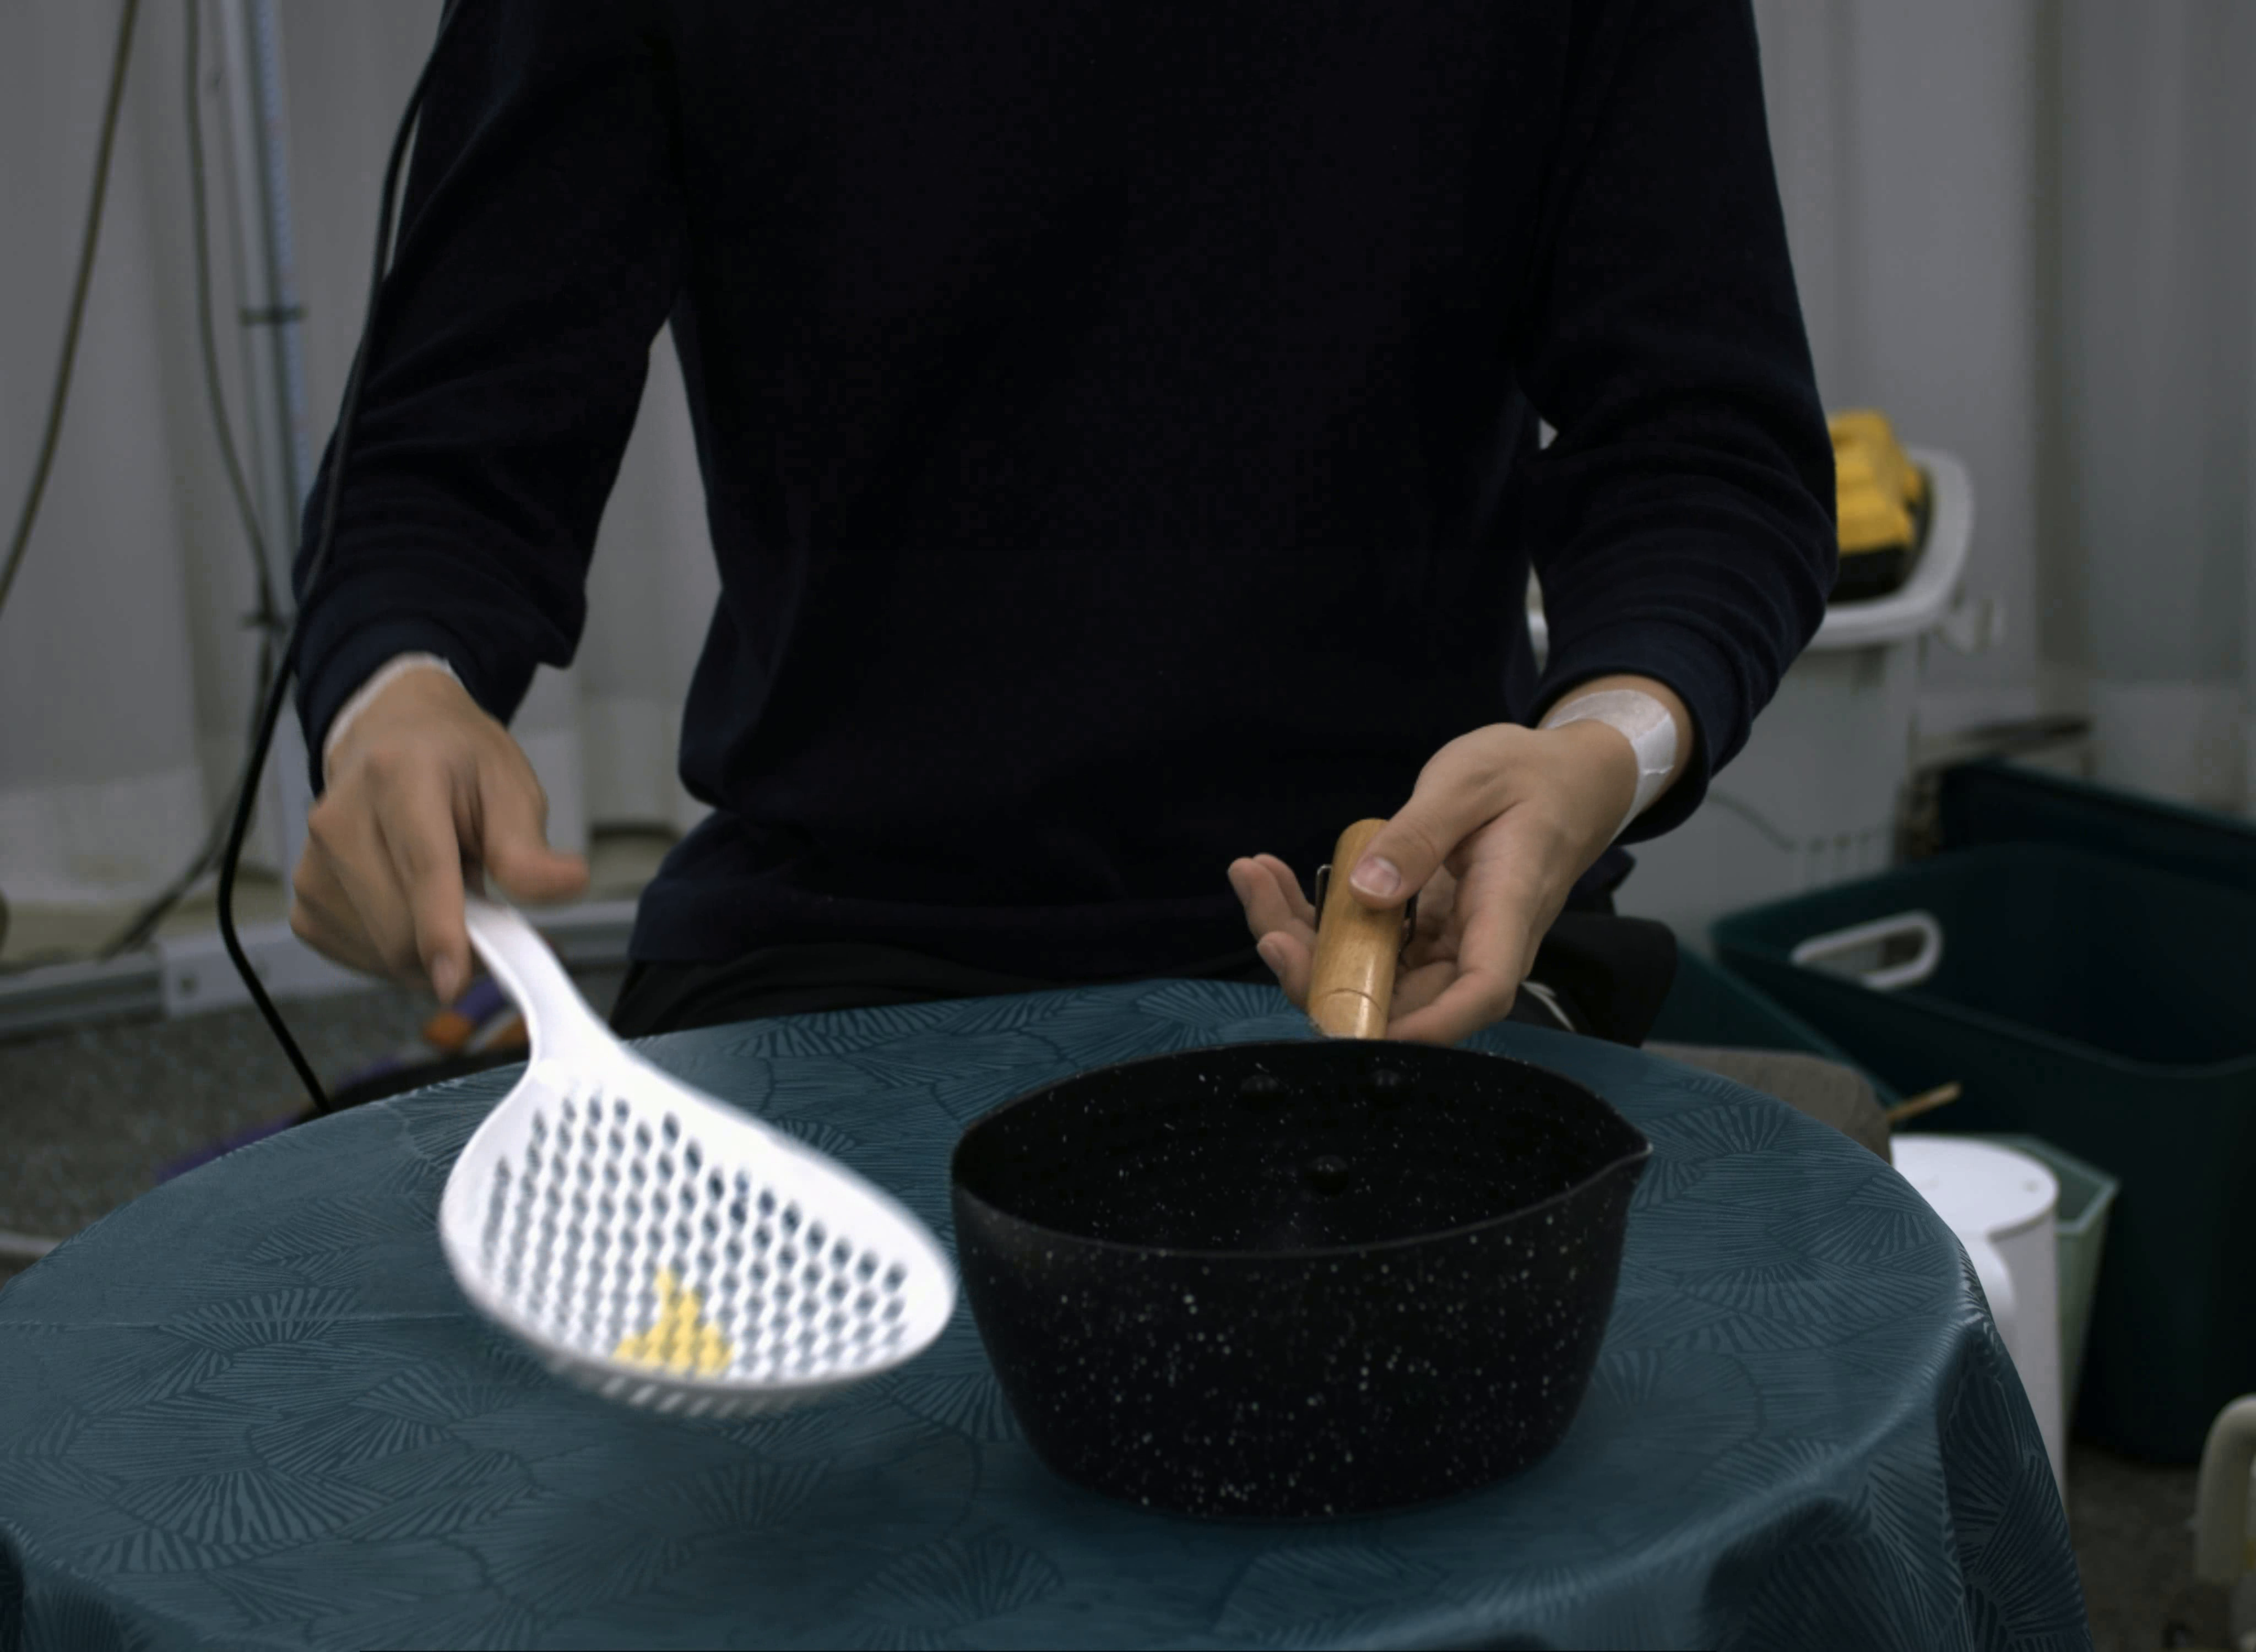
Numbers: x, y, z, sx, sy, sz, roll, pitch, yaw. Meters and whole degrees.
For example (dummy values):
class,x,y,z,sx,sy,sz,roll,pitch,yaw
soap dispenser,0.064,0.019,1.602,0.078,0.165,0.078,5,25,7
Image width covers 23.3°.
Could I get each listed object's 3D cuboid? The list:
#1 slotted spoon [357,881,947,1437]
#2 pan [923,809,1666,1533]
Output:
class,x,y,z,sx,sy,sz,roll,pitch,yaw
slotted spoon,-0.159,0.081,1.541,0.136,0.050,0.352,0,29,-23
pan,0.055,0.094,1.576,0.207,0.108,0.345,-2,16,8
